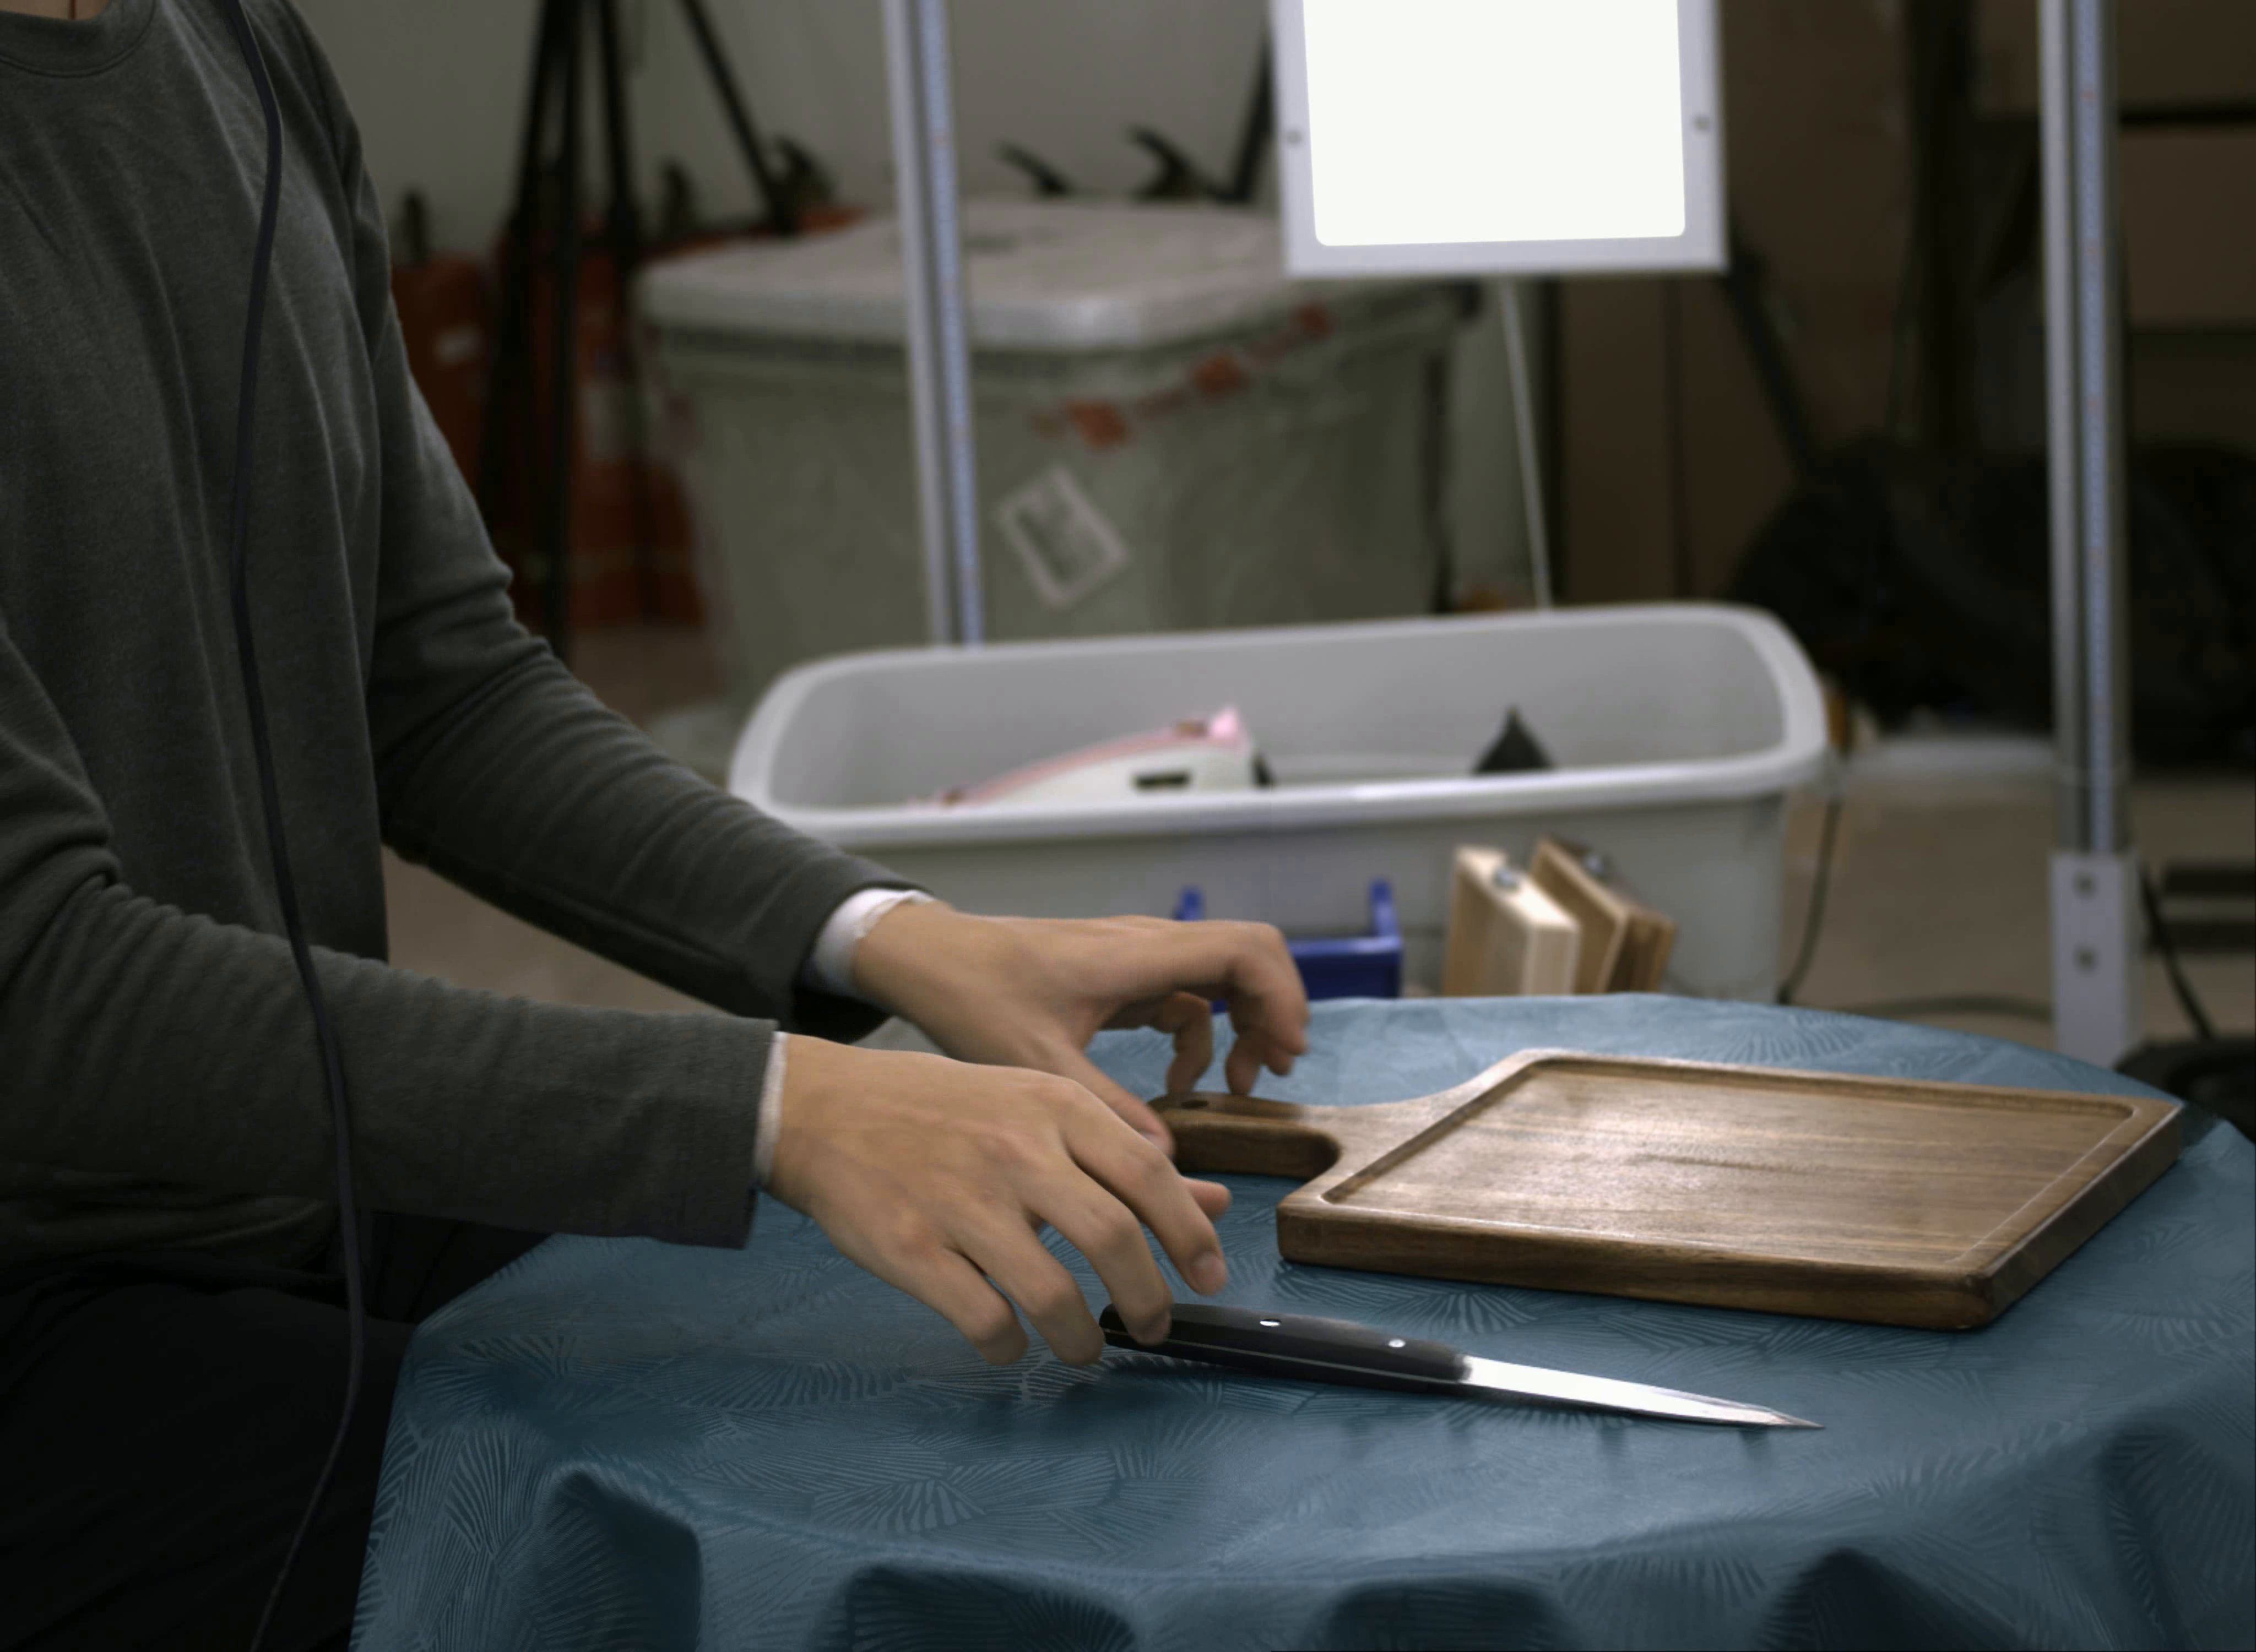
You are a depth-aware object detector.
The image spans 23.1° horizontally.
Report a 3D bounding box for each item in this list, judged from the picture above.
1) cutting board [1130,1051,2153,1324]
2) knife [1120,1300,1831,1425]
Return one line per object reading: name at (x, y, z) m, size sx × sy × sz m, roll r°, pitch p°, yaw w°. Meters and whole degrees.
cutting board at (0.158, 0.115, 1.851) m, size 0.359 × 0.023 × 0.196 m, roll 3°, pitch 15°, yaw 31°
knife at (0.102, 0.167, 1.676) m, size 0.242 × 0.016 × 0.024 m, roll 5°, pitch 19°, yaw 28°
